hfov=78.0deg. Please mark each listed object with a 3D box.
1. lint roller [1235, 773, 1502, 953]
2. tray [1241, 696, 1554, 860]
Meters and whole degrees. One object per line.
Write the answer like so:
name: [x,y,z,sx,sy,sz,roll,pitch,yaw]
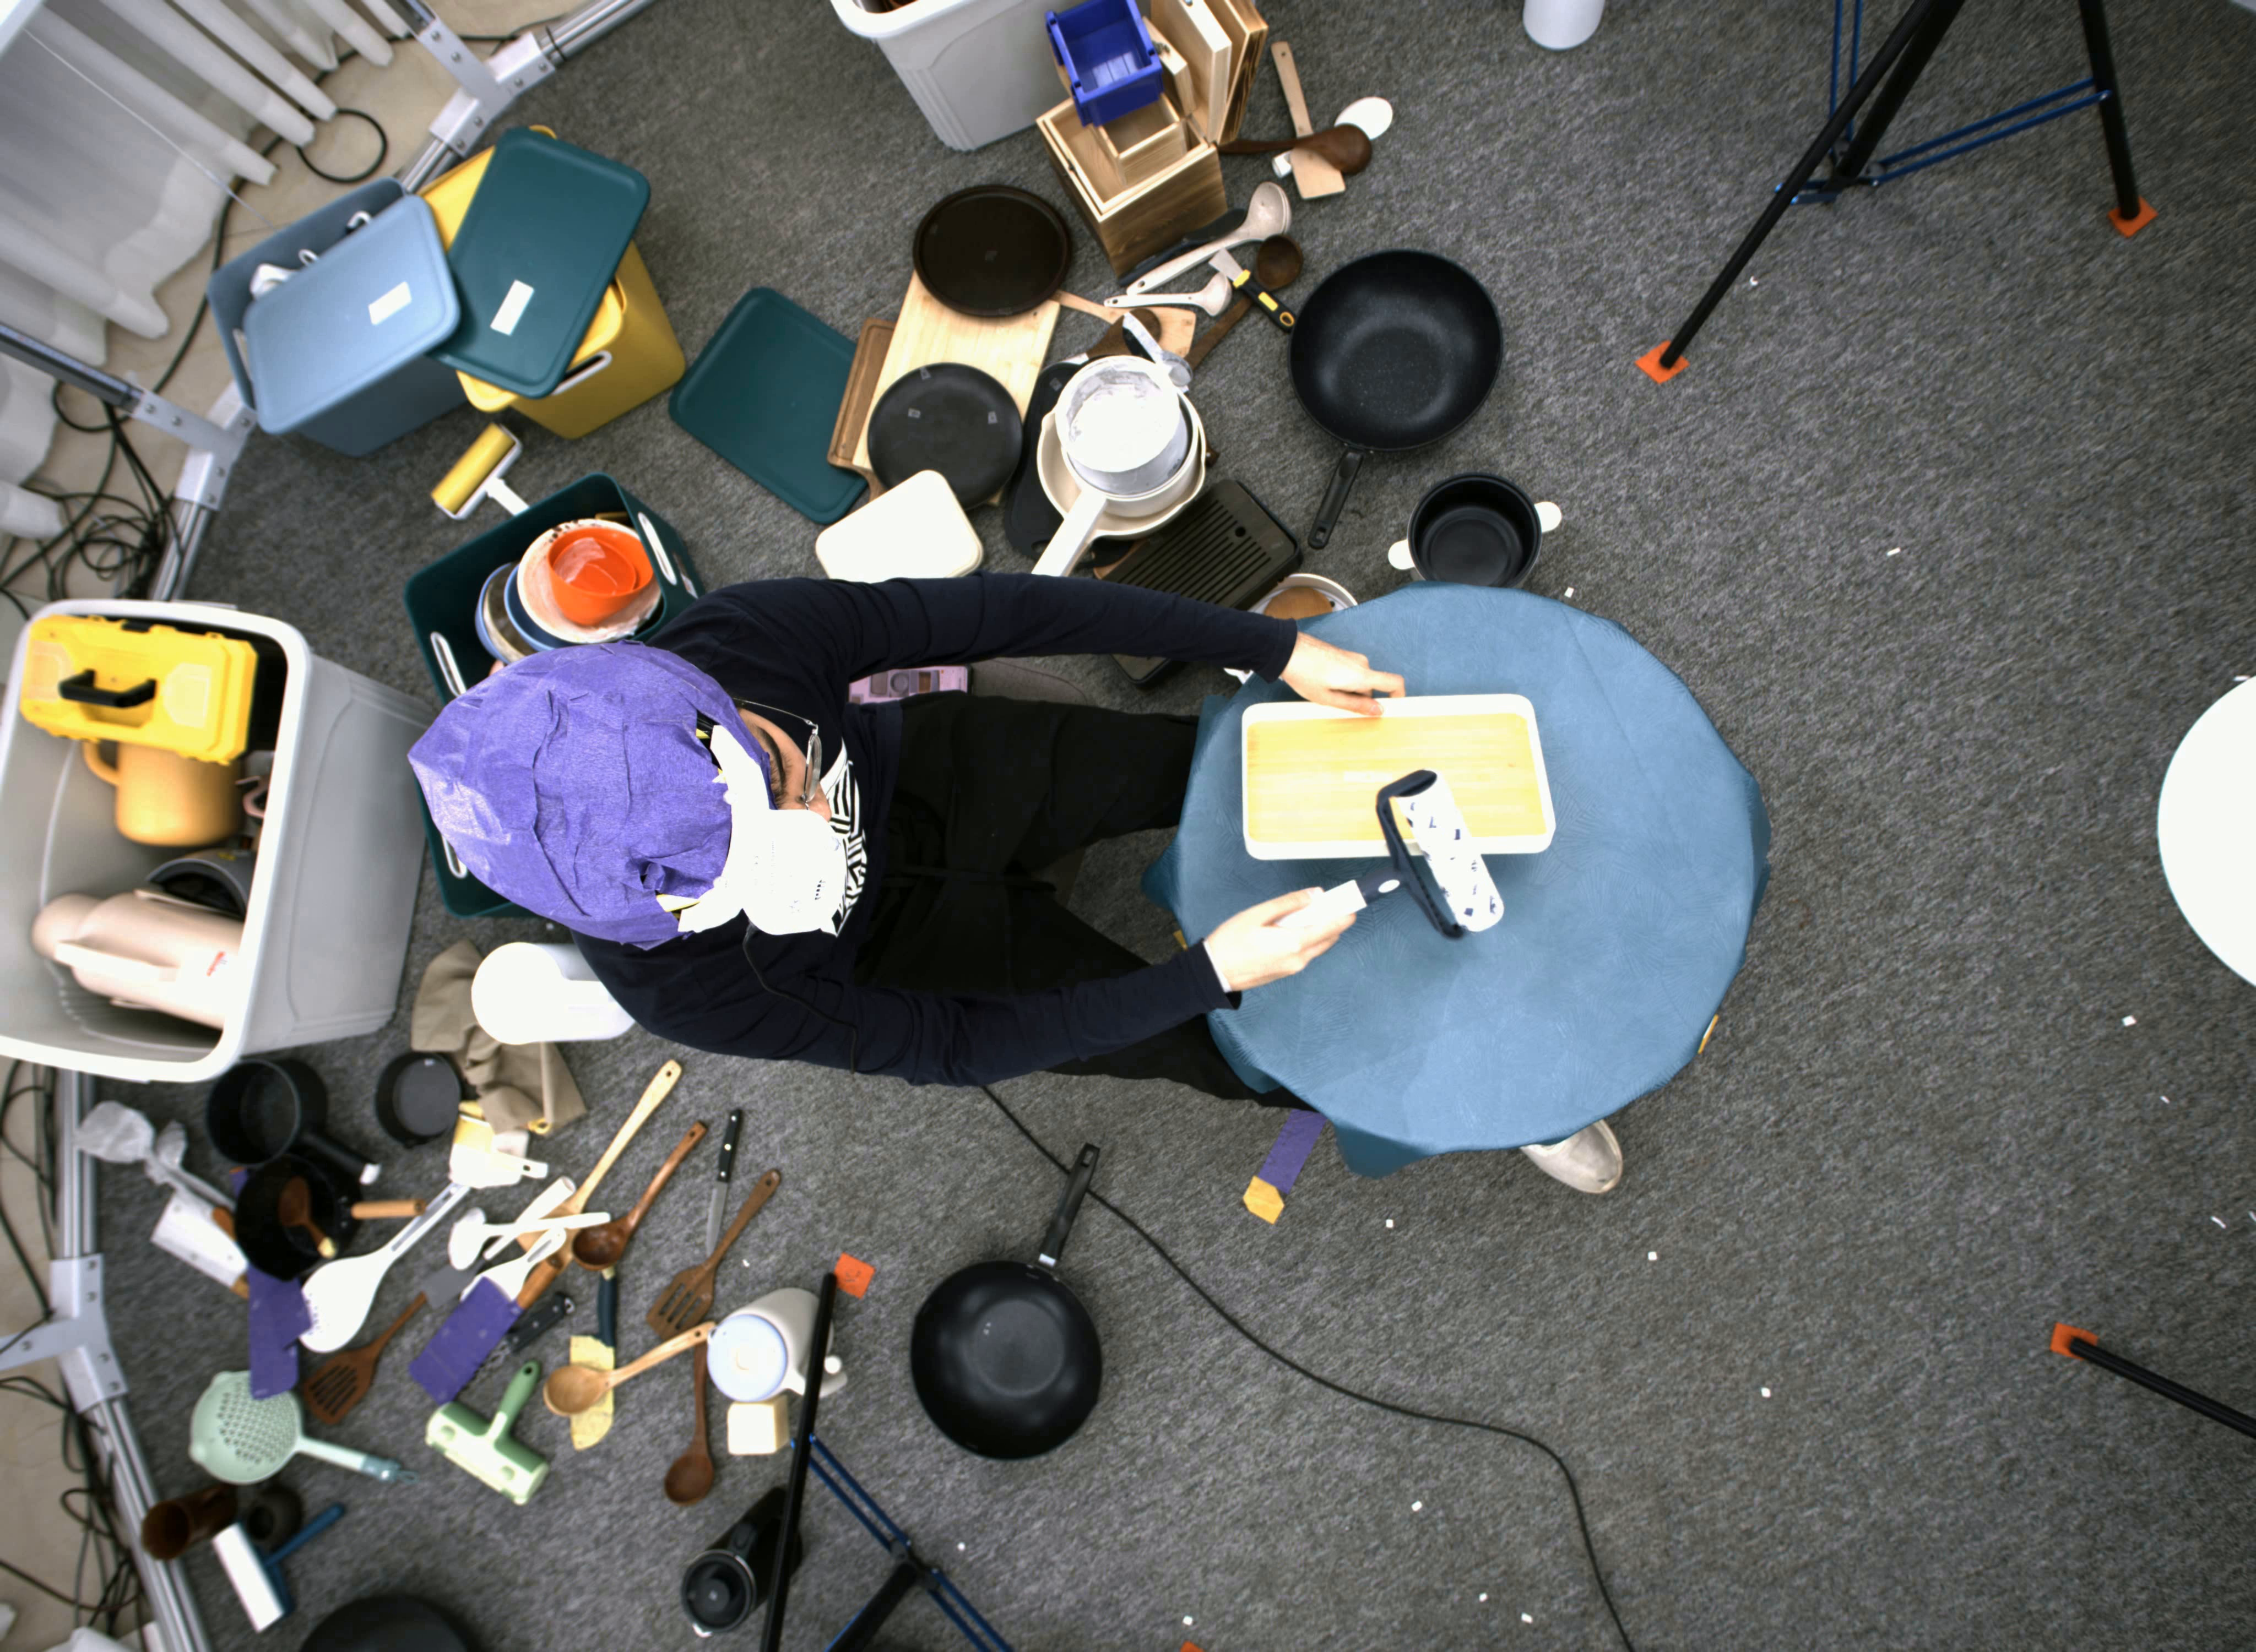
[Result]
lint roller: [0.216,0.069,1.319,0.249,0.049,0.179,-27,120,14]
tray: [0.264,-0.052,1.384,0.301,0.028,0.186,-2,54,7]
